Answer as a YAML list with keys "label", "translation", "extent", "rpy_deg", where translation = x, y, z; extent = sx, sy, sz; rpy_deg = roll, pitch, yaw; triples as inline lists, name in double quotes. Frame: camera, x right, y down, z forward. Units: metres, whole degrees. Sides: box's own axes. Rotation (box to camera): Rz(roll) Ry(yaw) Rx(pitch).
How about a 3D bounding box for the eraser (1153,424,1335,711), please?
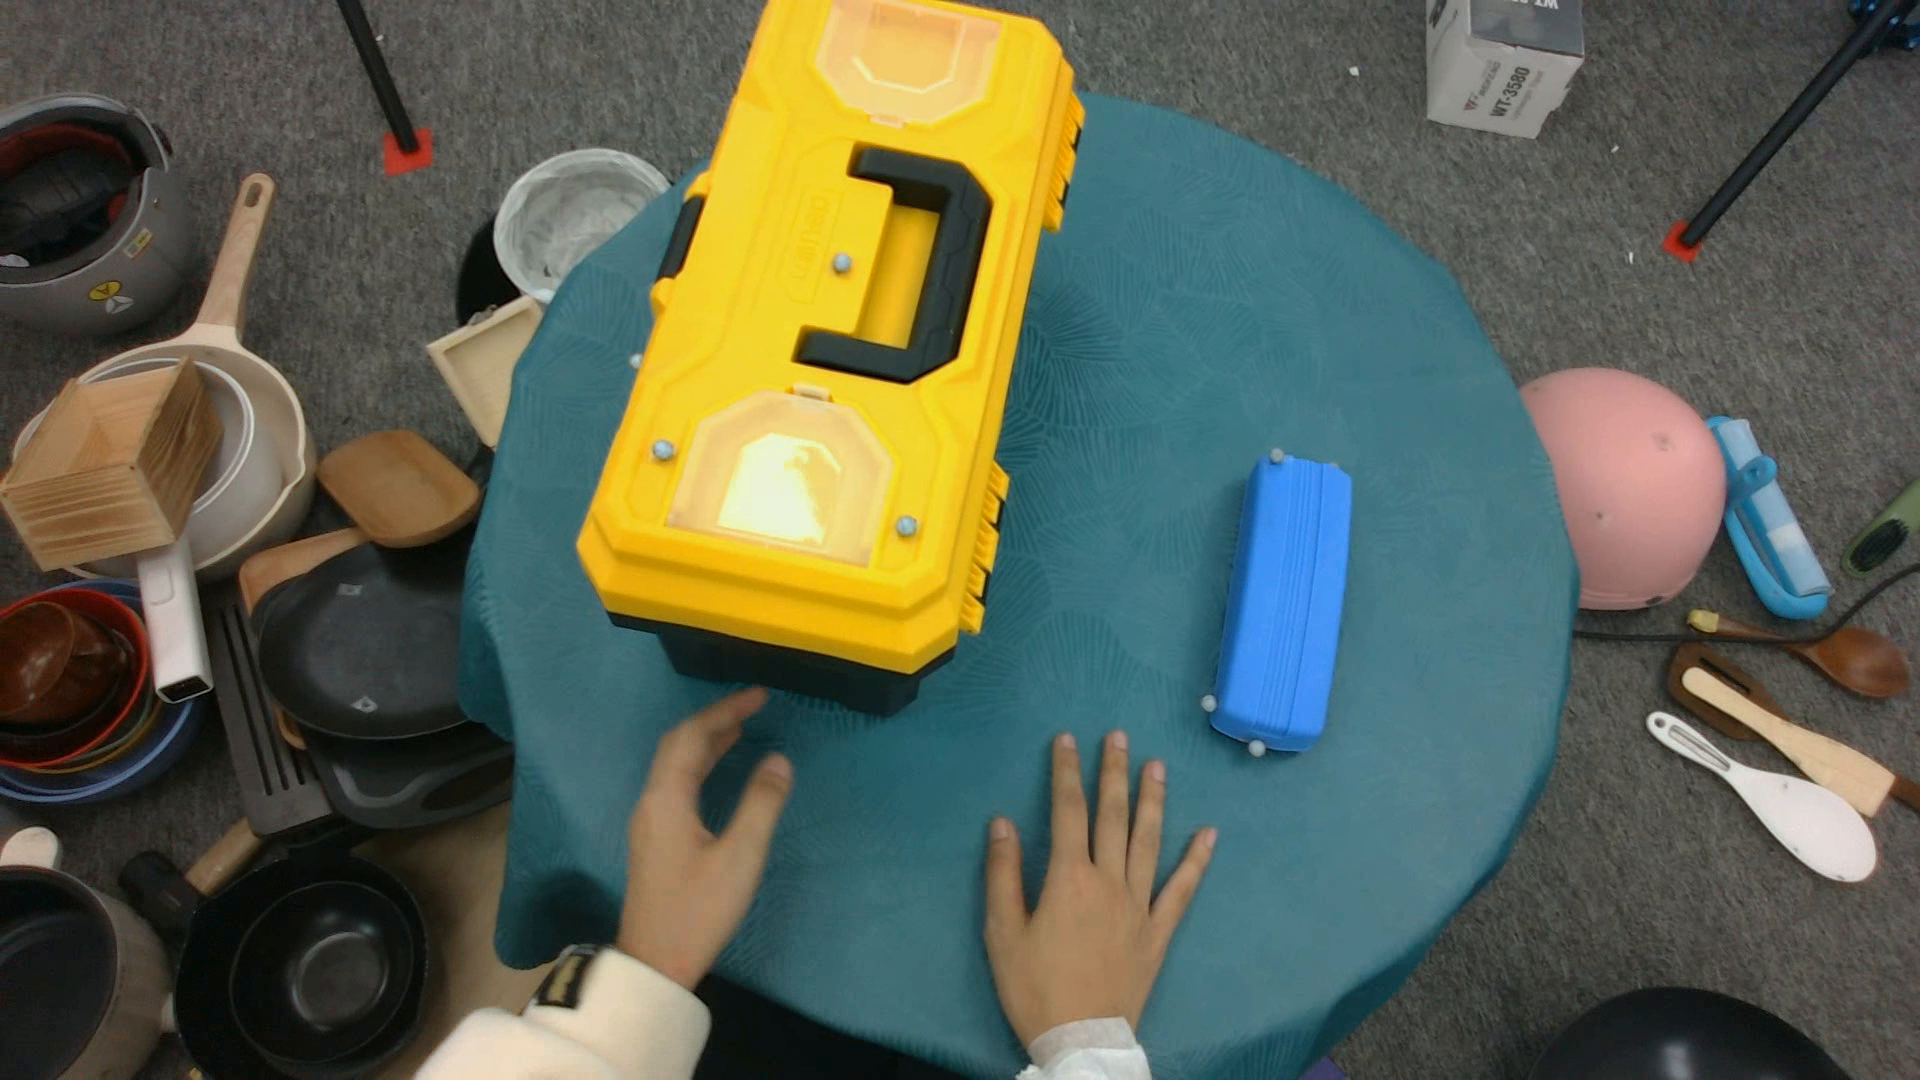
- label: "eraser"
  translation: [0.153, 0.009, 0.727]
  extent: [0.054, 0.047, 0.163]
  rpy_deg: [23, 63, 4]

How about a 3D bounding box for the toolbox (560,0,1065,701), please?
- label: "toolbox"
  translation: [-0.062, -0.103, 0.693]
  extent: [0.181, 0.172, 0.353]
  rpy_deg: [13, 64, 0]
